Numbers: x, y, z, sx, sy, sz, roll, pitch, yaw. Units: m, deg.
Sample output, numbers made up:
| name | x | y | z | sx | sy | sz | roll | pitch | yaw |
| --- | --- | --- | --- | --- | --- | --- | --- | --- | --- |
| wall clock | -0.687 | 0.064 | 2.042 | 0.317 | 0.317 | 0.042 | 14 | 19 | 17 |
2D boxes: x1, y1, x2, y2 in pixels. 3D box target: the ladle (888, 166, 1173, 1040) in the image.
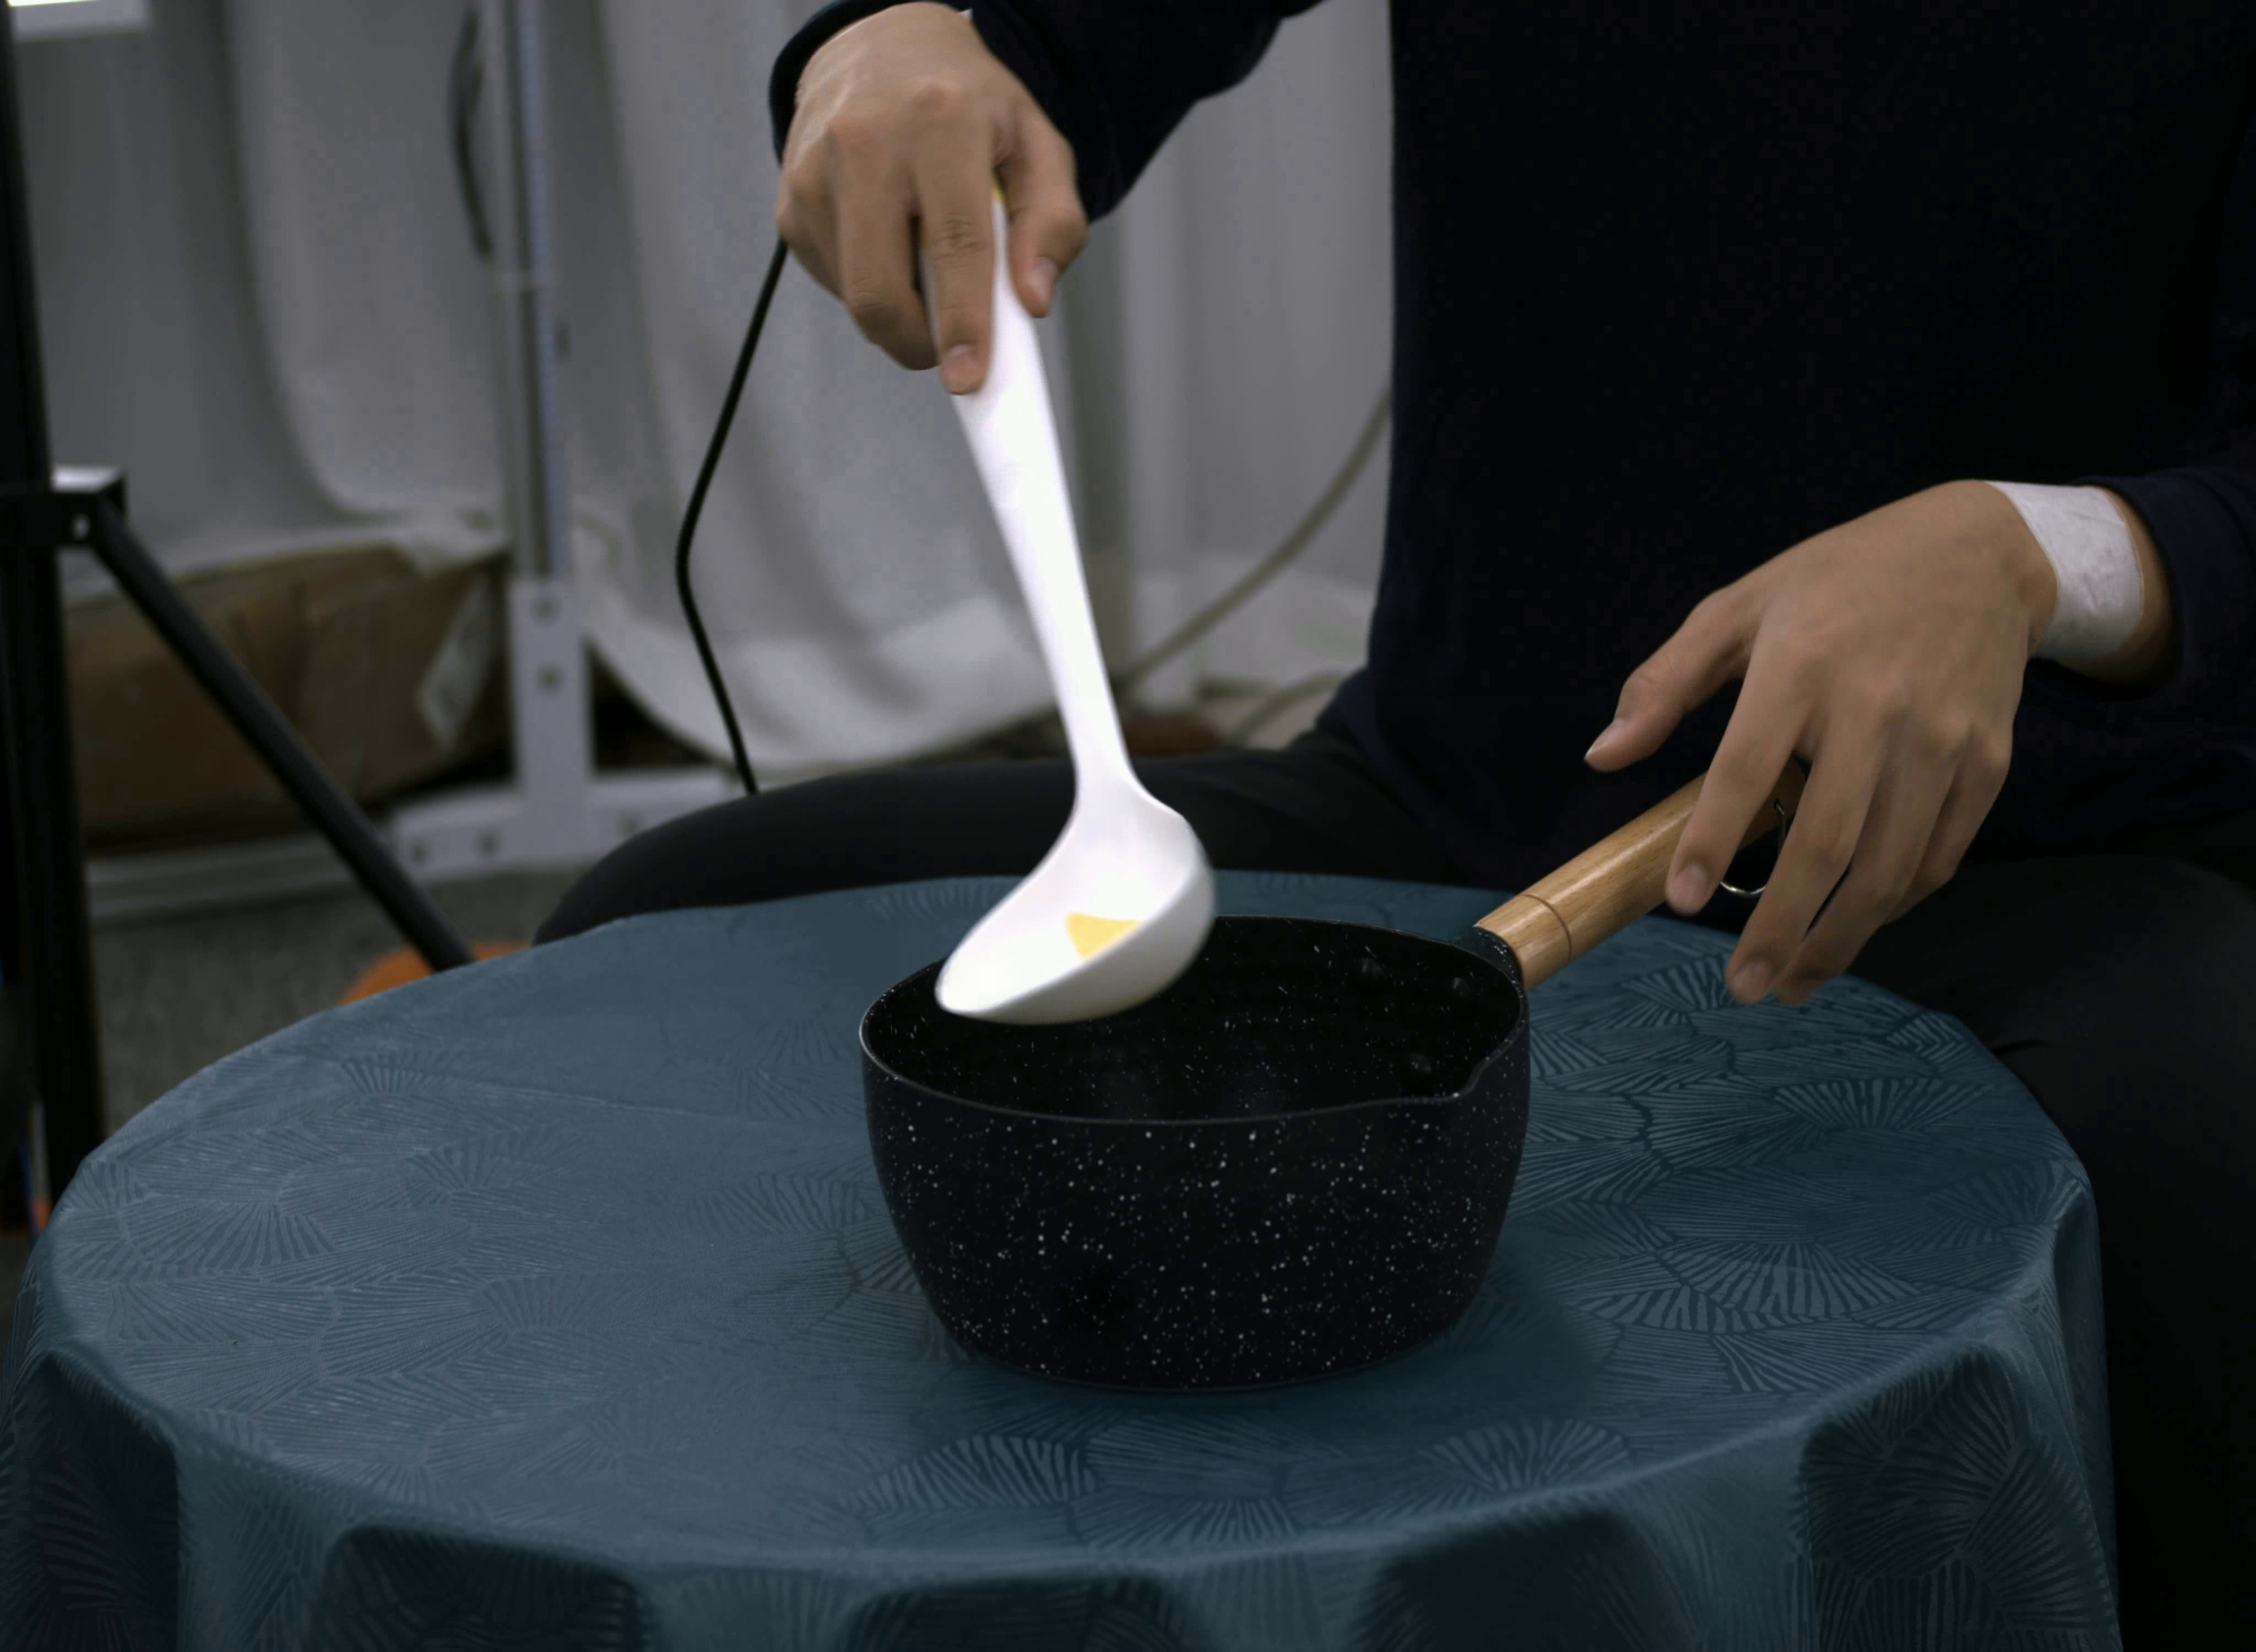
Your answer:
| name | x | y | z | sx | sy | sz | roll | pitch | yaw |
| --- | --- | --- | --- | --- | --- | --- | --- | --- | --- |
| ladle | -0.041 | -0.068 | 1.496 | 0.091 | 0.297 | 0.068 | -34 | -37 | 32 |

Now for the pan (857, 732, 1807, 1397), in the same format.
| name | x | y | z | sx | sy | sz | roll | pitch | yaw |
| --- | --- | --- | --- | --- | --- | --- | --- | --- | --- |
| pan | 0.076 | 0.063 | 1.508 | 0.335 | 0.108 | 0.212 | -18 | 21 | -40 |
